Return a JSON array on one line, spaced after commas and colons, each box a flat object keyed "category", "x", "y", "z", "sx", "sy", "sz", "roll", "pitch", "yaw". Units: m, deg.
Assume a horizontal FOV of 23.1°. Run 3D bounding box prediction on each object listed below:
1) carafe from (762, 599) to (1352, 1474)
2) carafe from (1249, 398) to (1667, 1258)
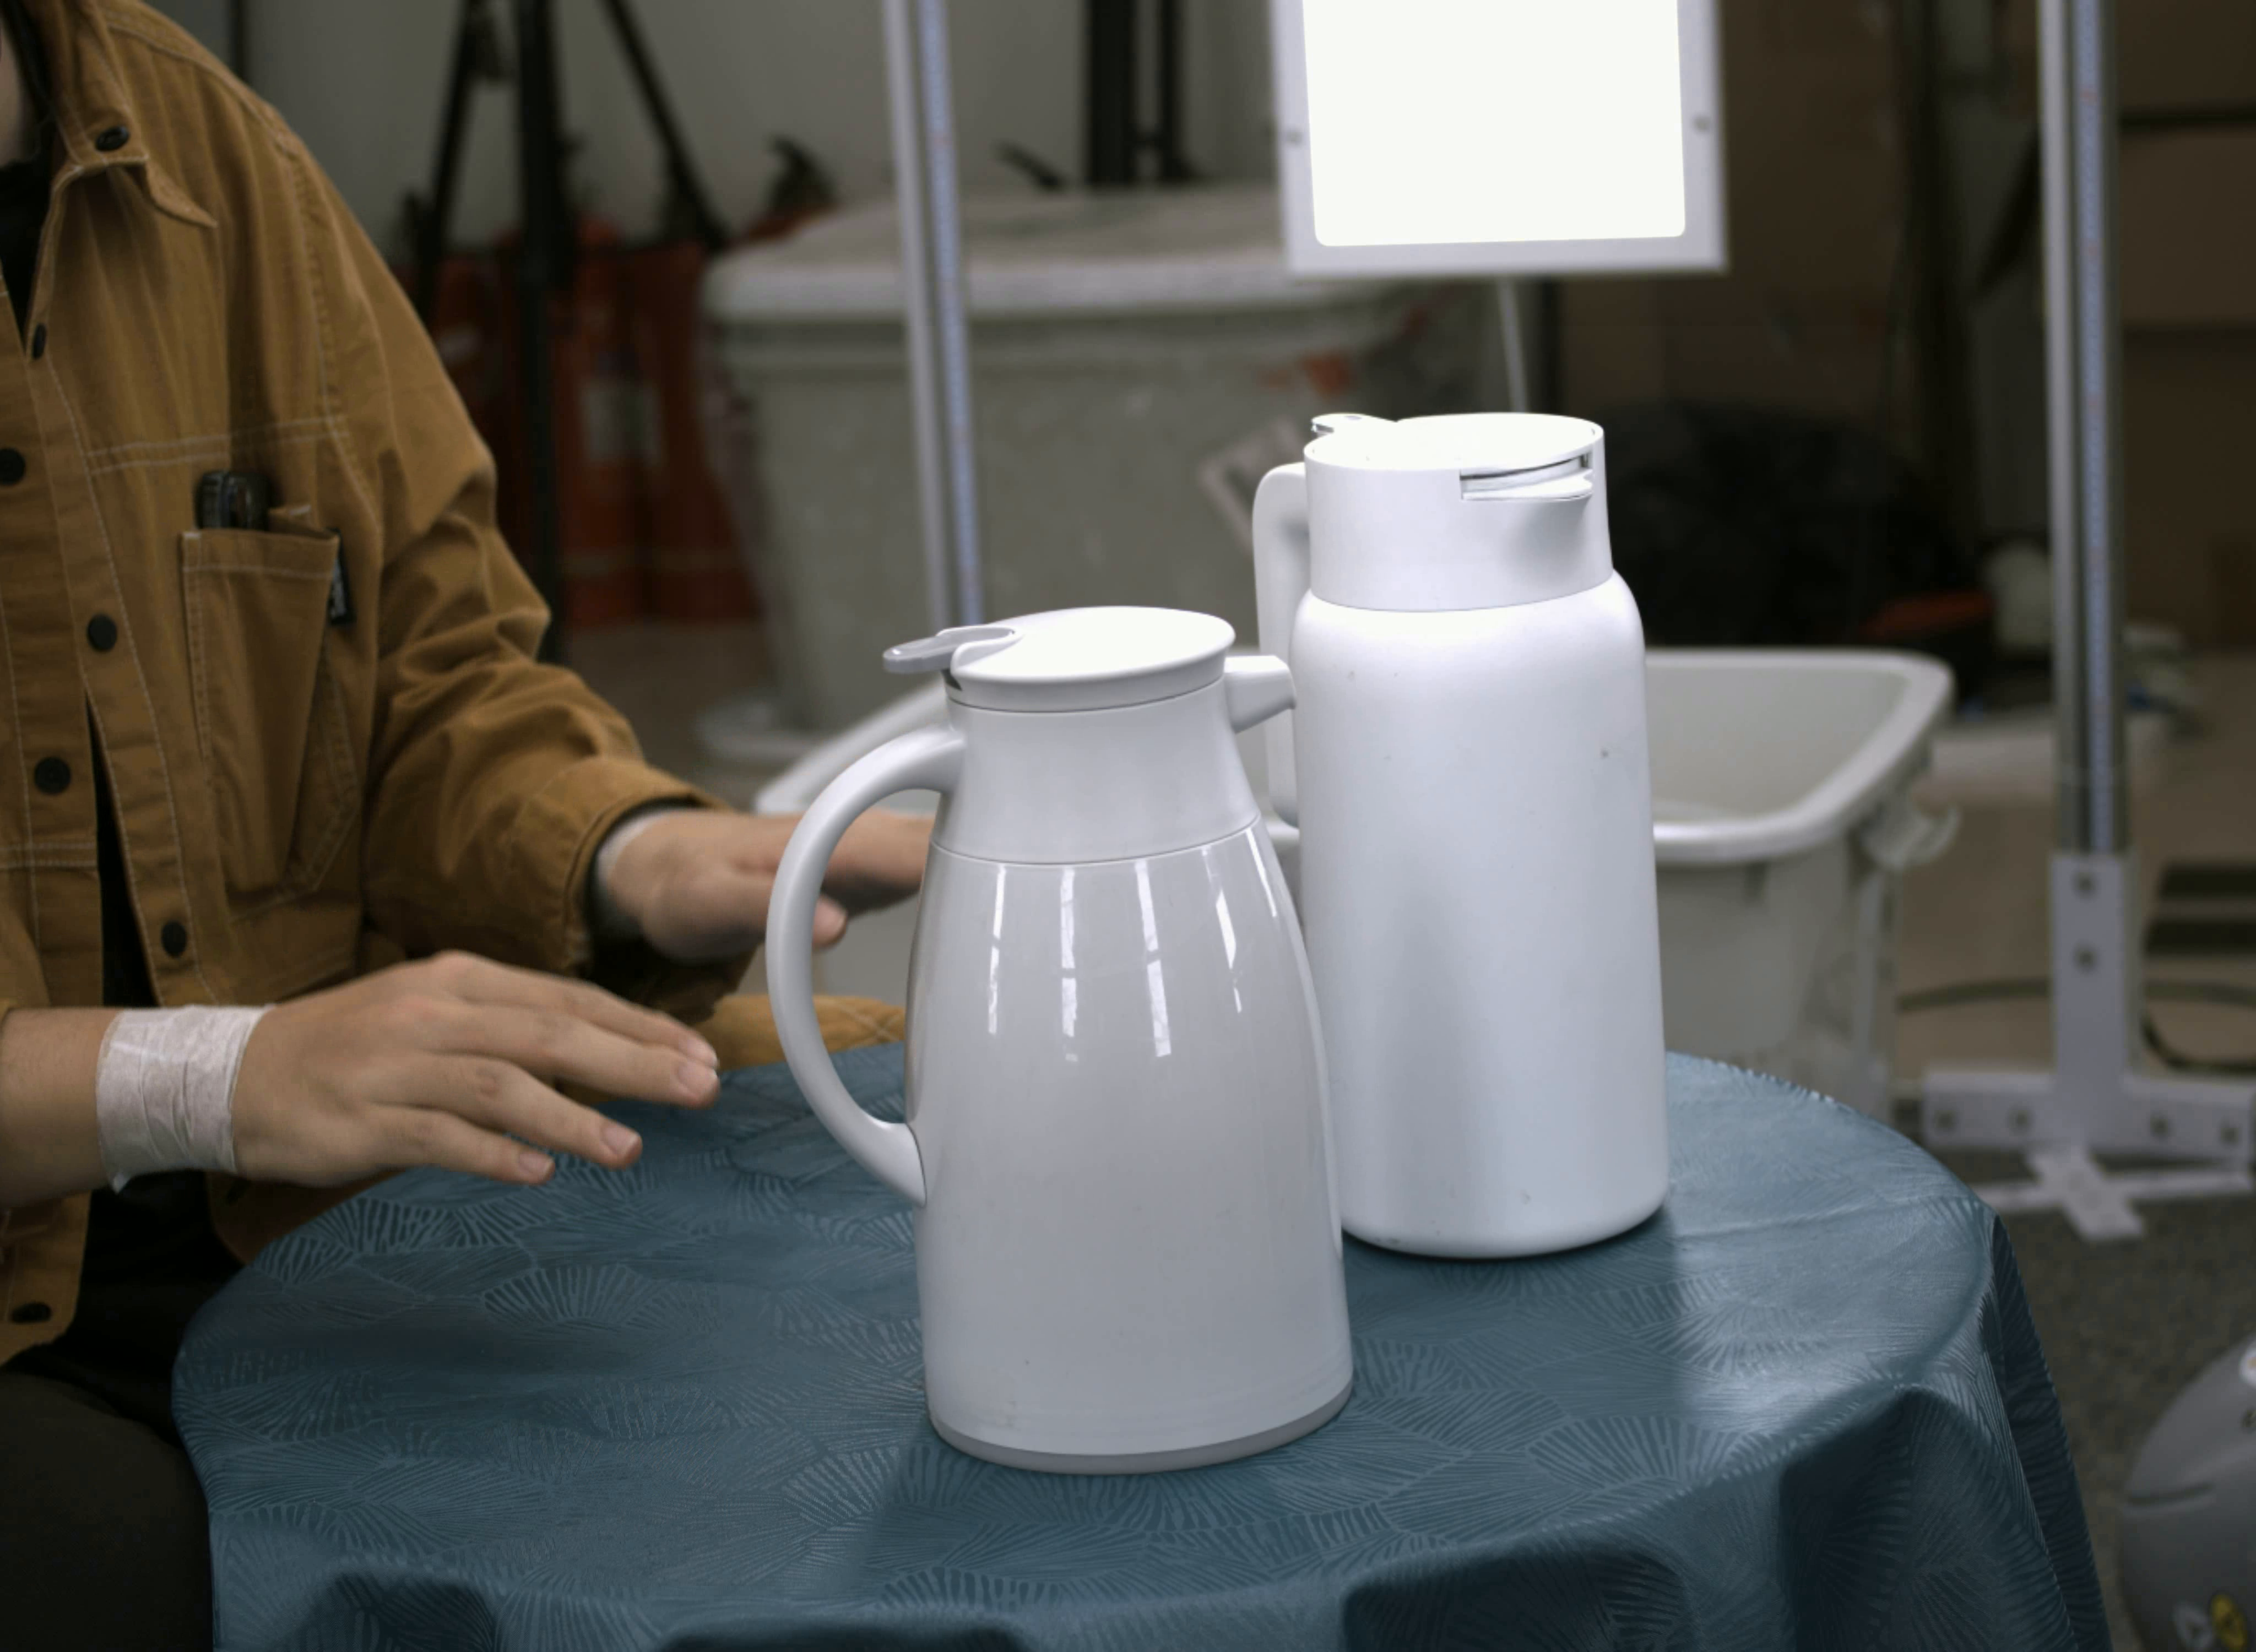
[{"category": "carafe", "x": -0.024, "y": 0.060, "z": 1.659, "sx": 0.166, "sy": 0.249, "sz": 0.133, "roll": -8, "pitch": 14, "yaw": -11}, {"category": "carafe", "x": 0.103, "y": -0.002, "z": 1.822, "sx": 0.121, "sy": 0.270, "sz": 0.176, "roll": -15, "pitch": 17, "yaw": -29}]
